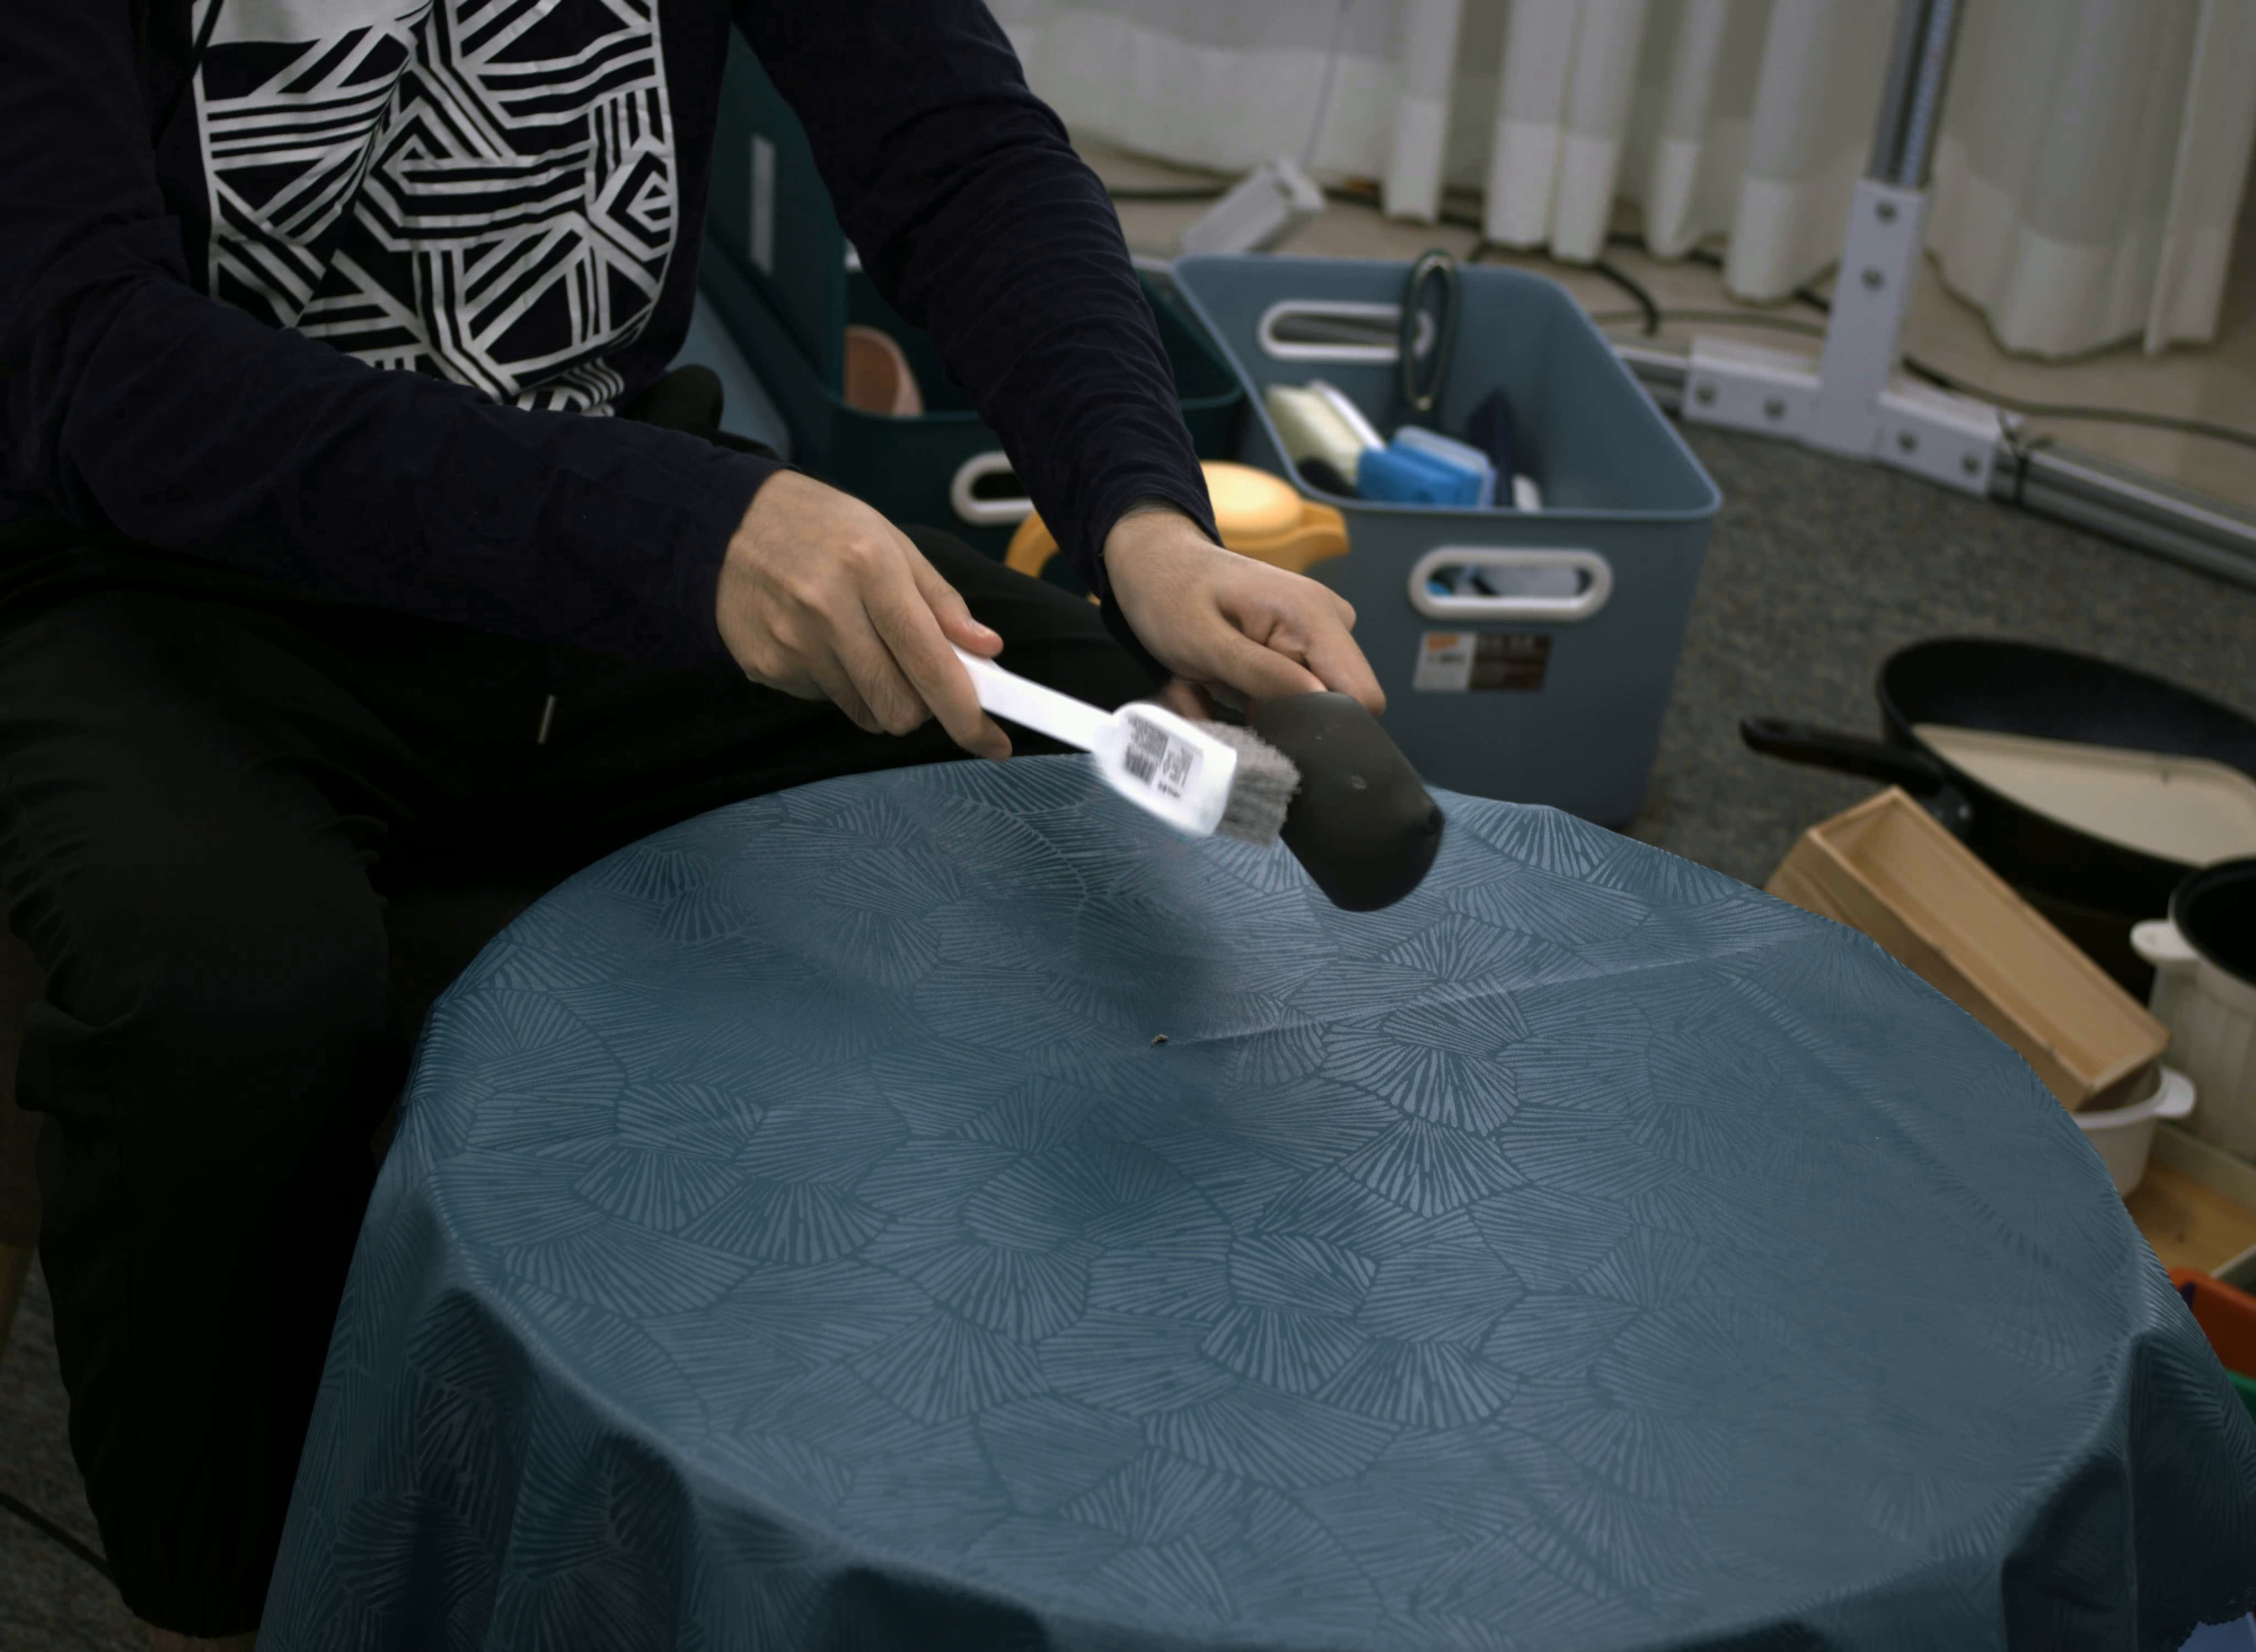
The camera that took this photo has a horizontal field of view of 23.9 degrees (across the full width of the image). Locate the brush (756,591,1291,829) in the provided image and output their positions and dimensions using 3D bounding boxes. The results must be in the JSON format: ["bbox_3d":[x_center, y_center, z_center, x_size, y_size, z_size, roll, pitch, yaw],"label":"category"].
[{"bbox_3d":[-0.038,-0.045,1.904,0.245,0.034,0.050,20,11,41],"label":"brush"}]

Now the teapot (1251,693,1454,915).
[{"bbox_3d":[0.074,-0.014,1.881,0.053,0.082,0.115,-38,33,1],"label":"teapot"}]
